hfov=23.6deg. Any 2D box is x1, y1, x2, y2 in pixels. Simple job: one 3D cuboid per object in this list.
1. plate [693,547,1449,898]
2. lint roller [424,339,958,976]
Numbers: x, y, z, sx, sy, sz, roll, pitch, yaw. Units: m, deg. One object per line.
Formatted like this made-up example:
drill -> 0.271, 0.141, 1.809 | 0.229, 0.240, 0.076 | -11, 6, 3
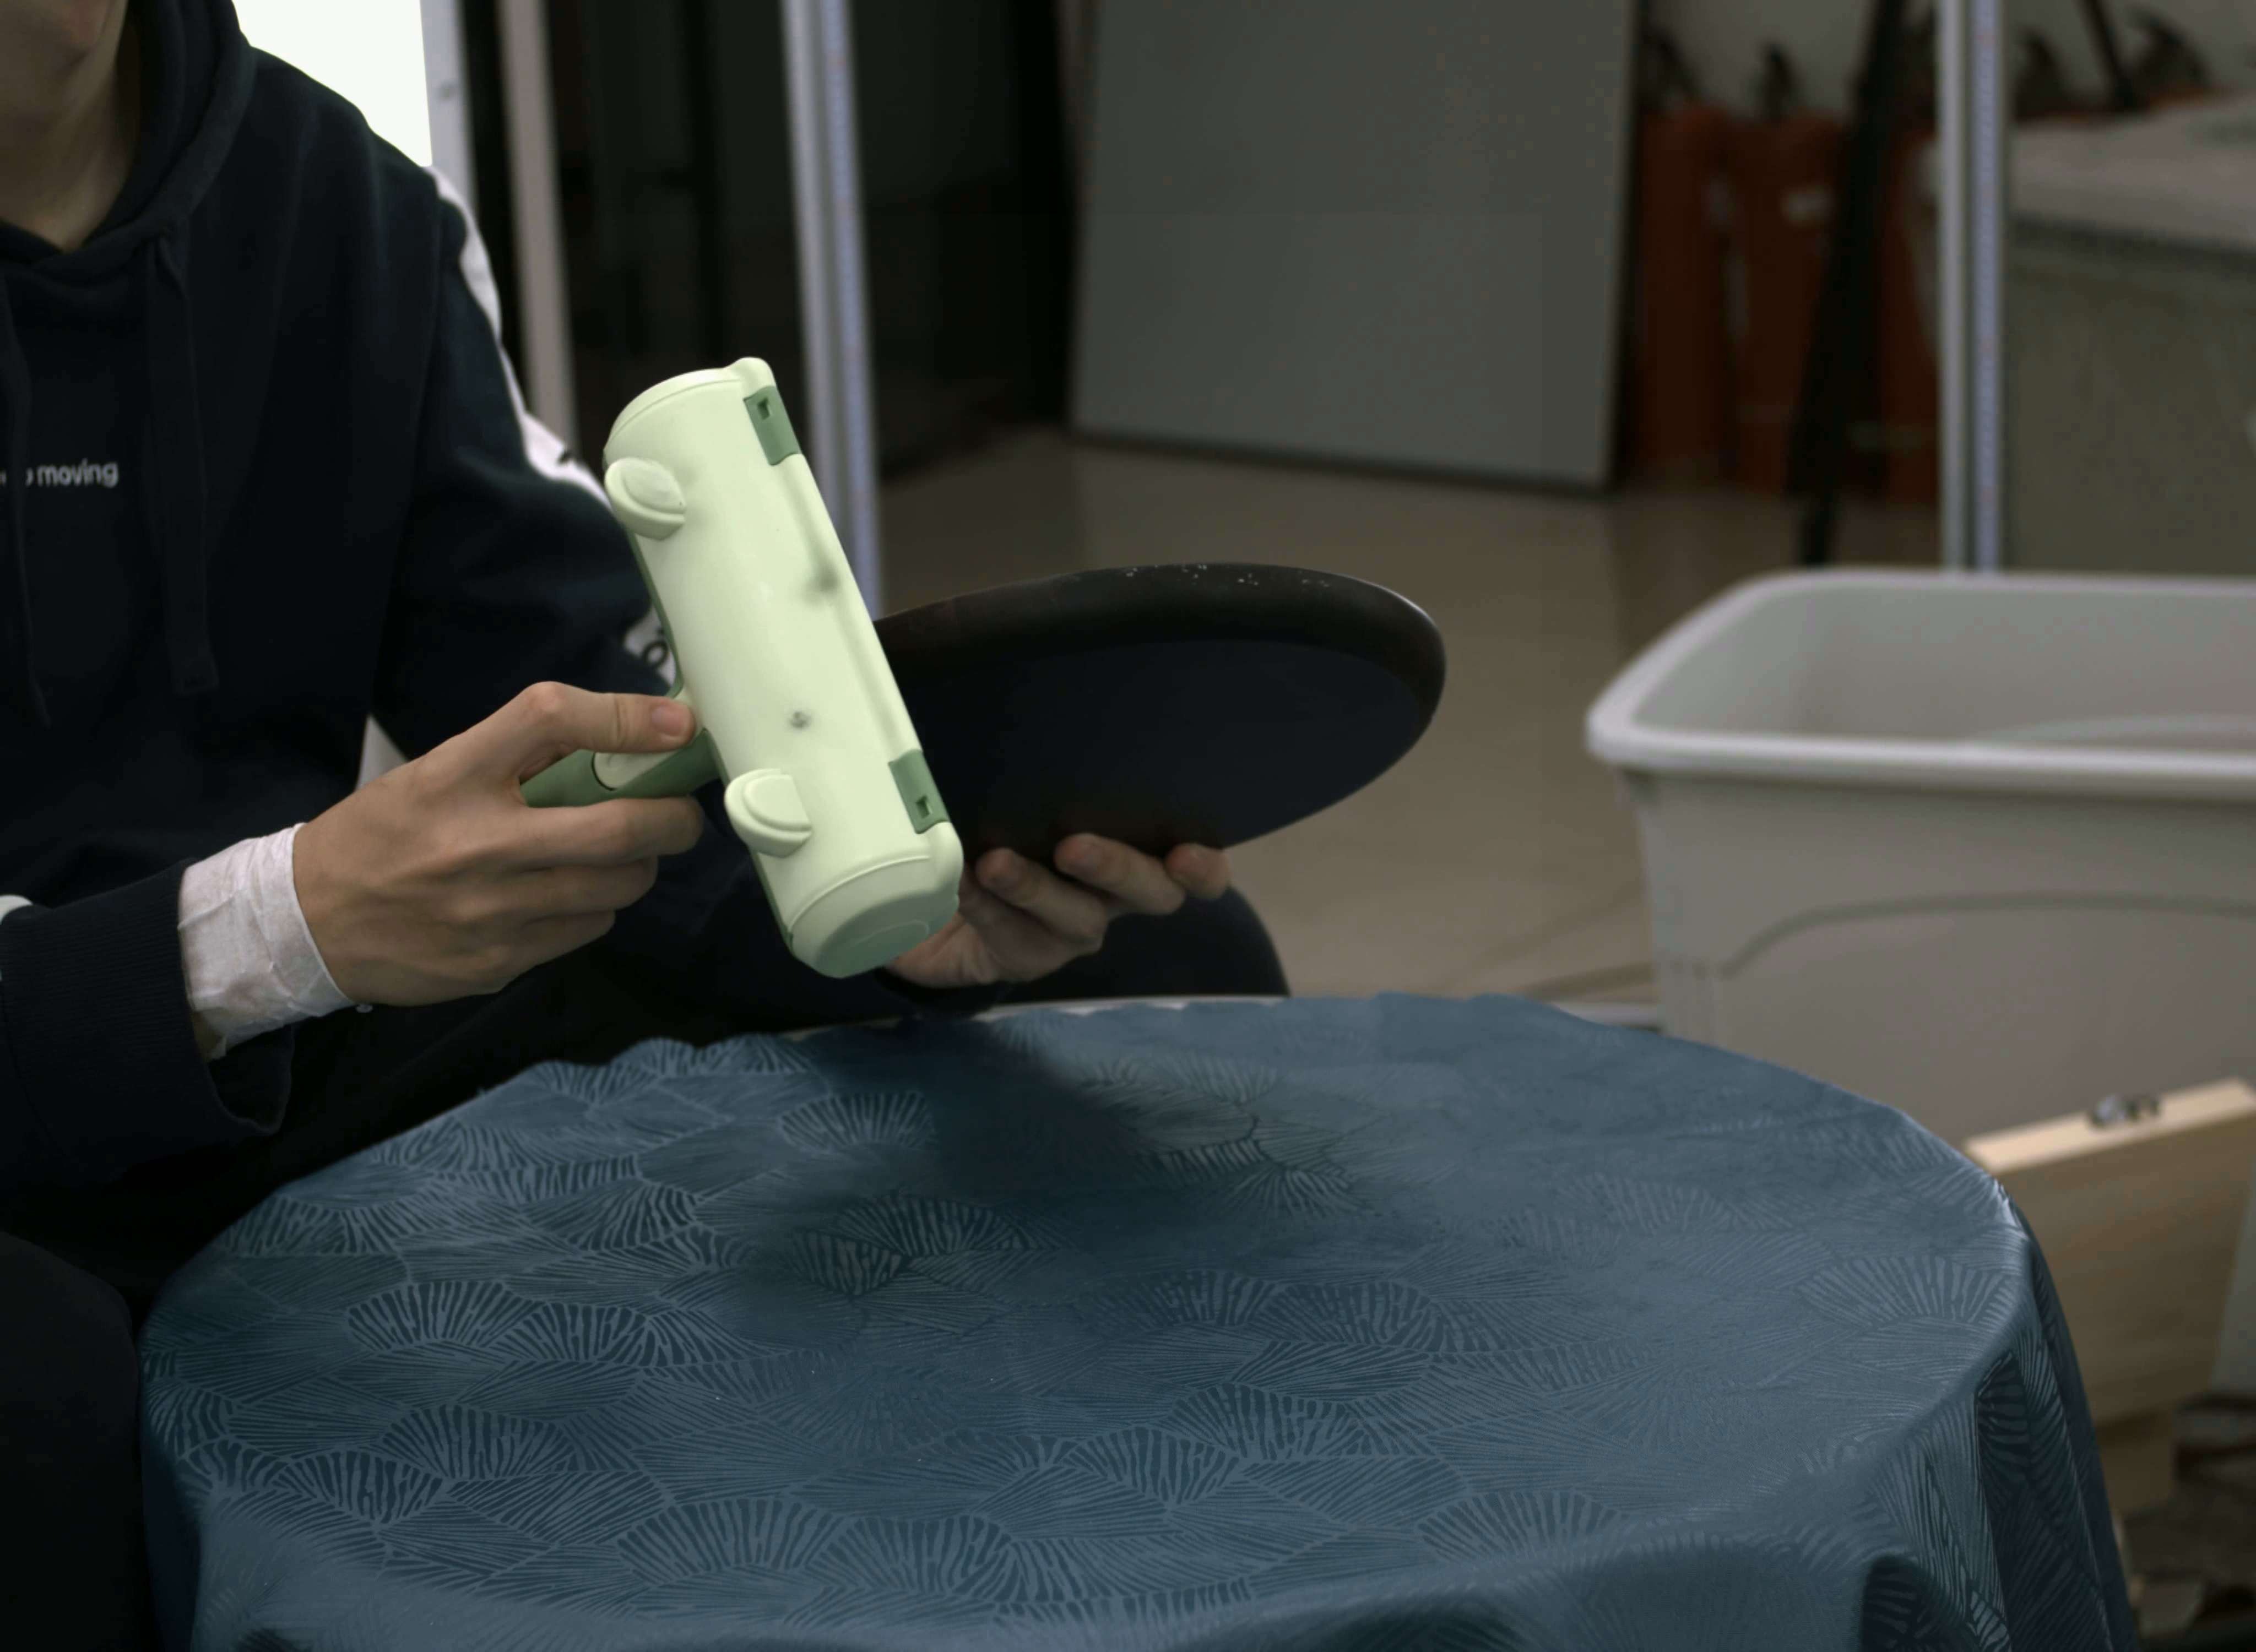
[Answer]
plate -> -0.018, -0.029, 1.758 | 0.251, 0.029, 0.255 | -8, -19, -4
lint roller -> -0.155, -0.025, 1.638 | 0.183, 0.201, 0.081 | -31, -28, 16
